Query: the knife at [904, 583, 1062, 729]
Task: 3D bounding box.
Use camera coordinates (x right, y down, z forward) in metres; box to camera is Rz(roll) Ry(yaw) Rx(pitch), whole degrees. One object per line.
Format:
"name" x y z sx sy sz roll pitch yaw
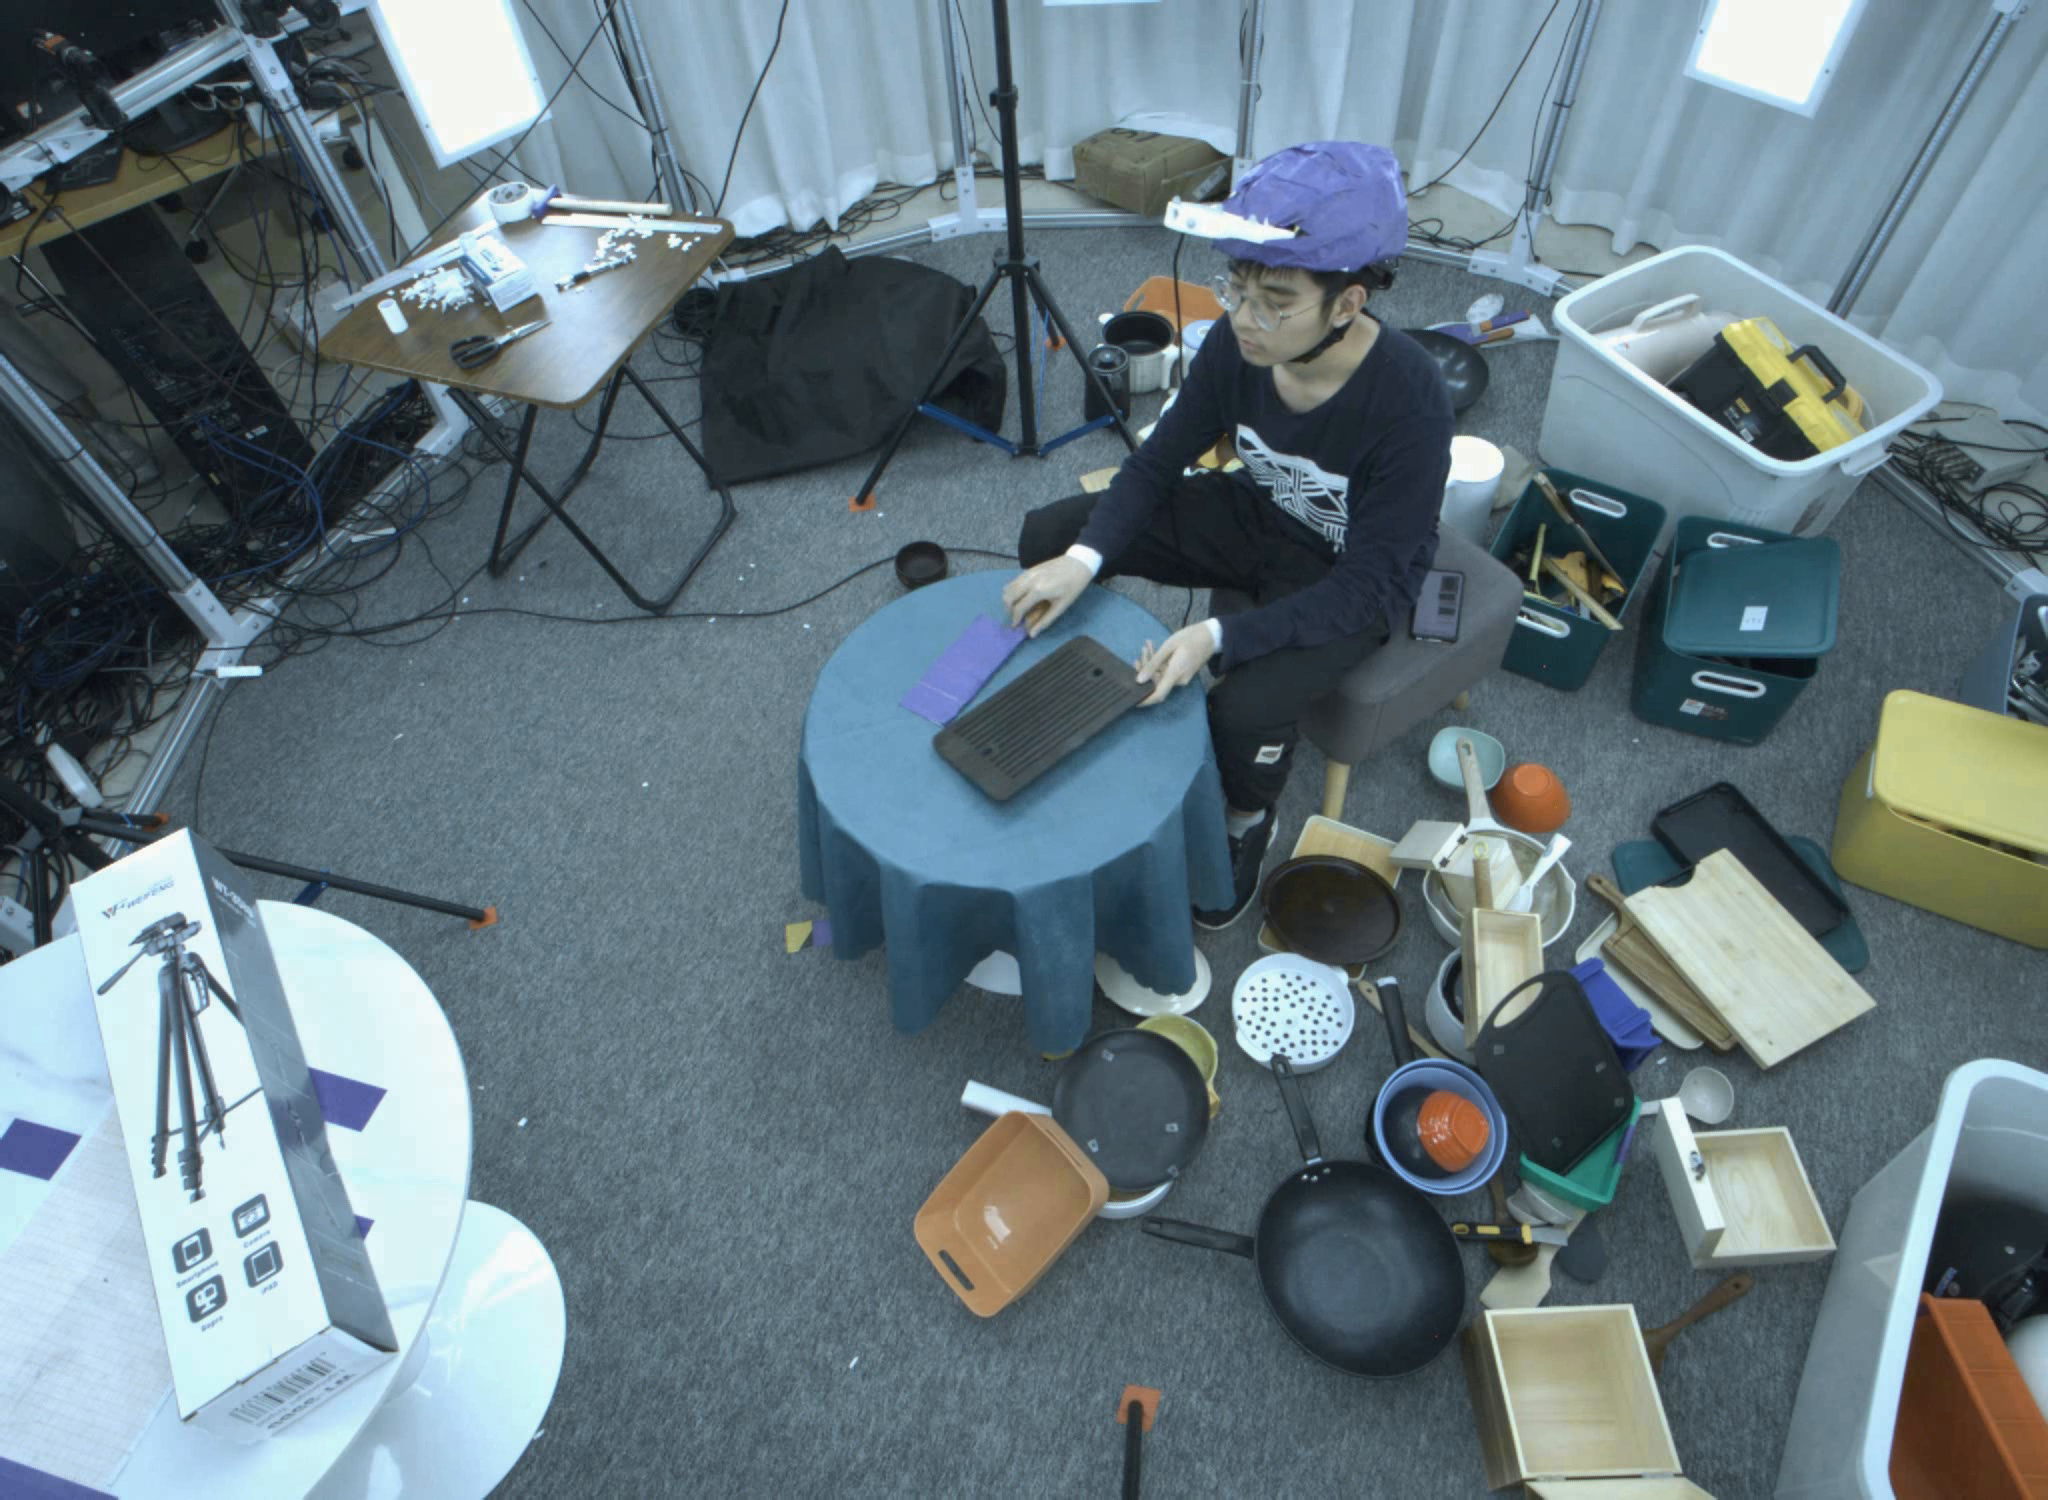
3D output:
"knife" -0.064 -0.161 1.894 0.102 0.032 0.316 29 61 20

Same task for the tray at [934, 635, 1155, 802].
"tray" 0.032 -0.049 1.805 0.308 0.019 0.166 -36 54 -22
